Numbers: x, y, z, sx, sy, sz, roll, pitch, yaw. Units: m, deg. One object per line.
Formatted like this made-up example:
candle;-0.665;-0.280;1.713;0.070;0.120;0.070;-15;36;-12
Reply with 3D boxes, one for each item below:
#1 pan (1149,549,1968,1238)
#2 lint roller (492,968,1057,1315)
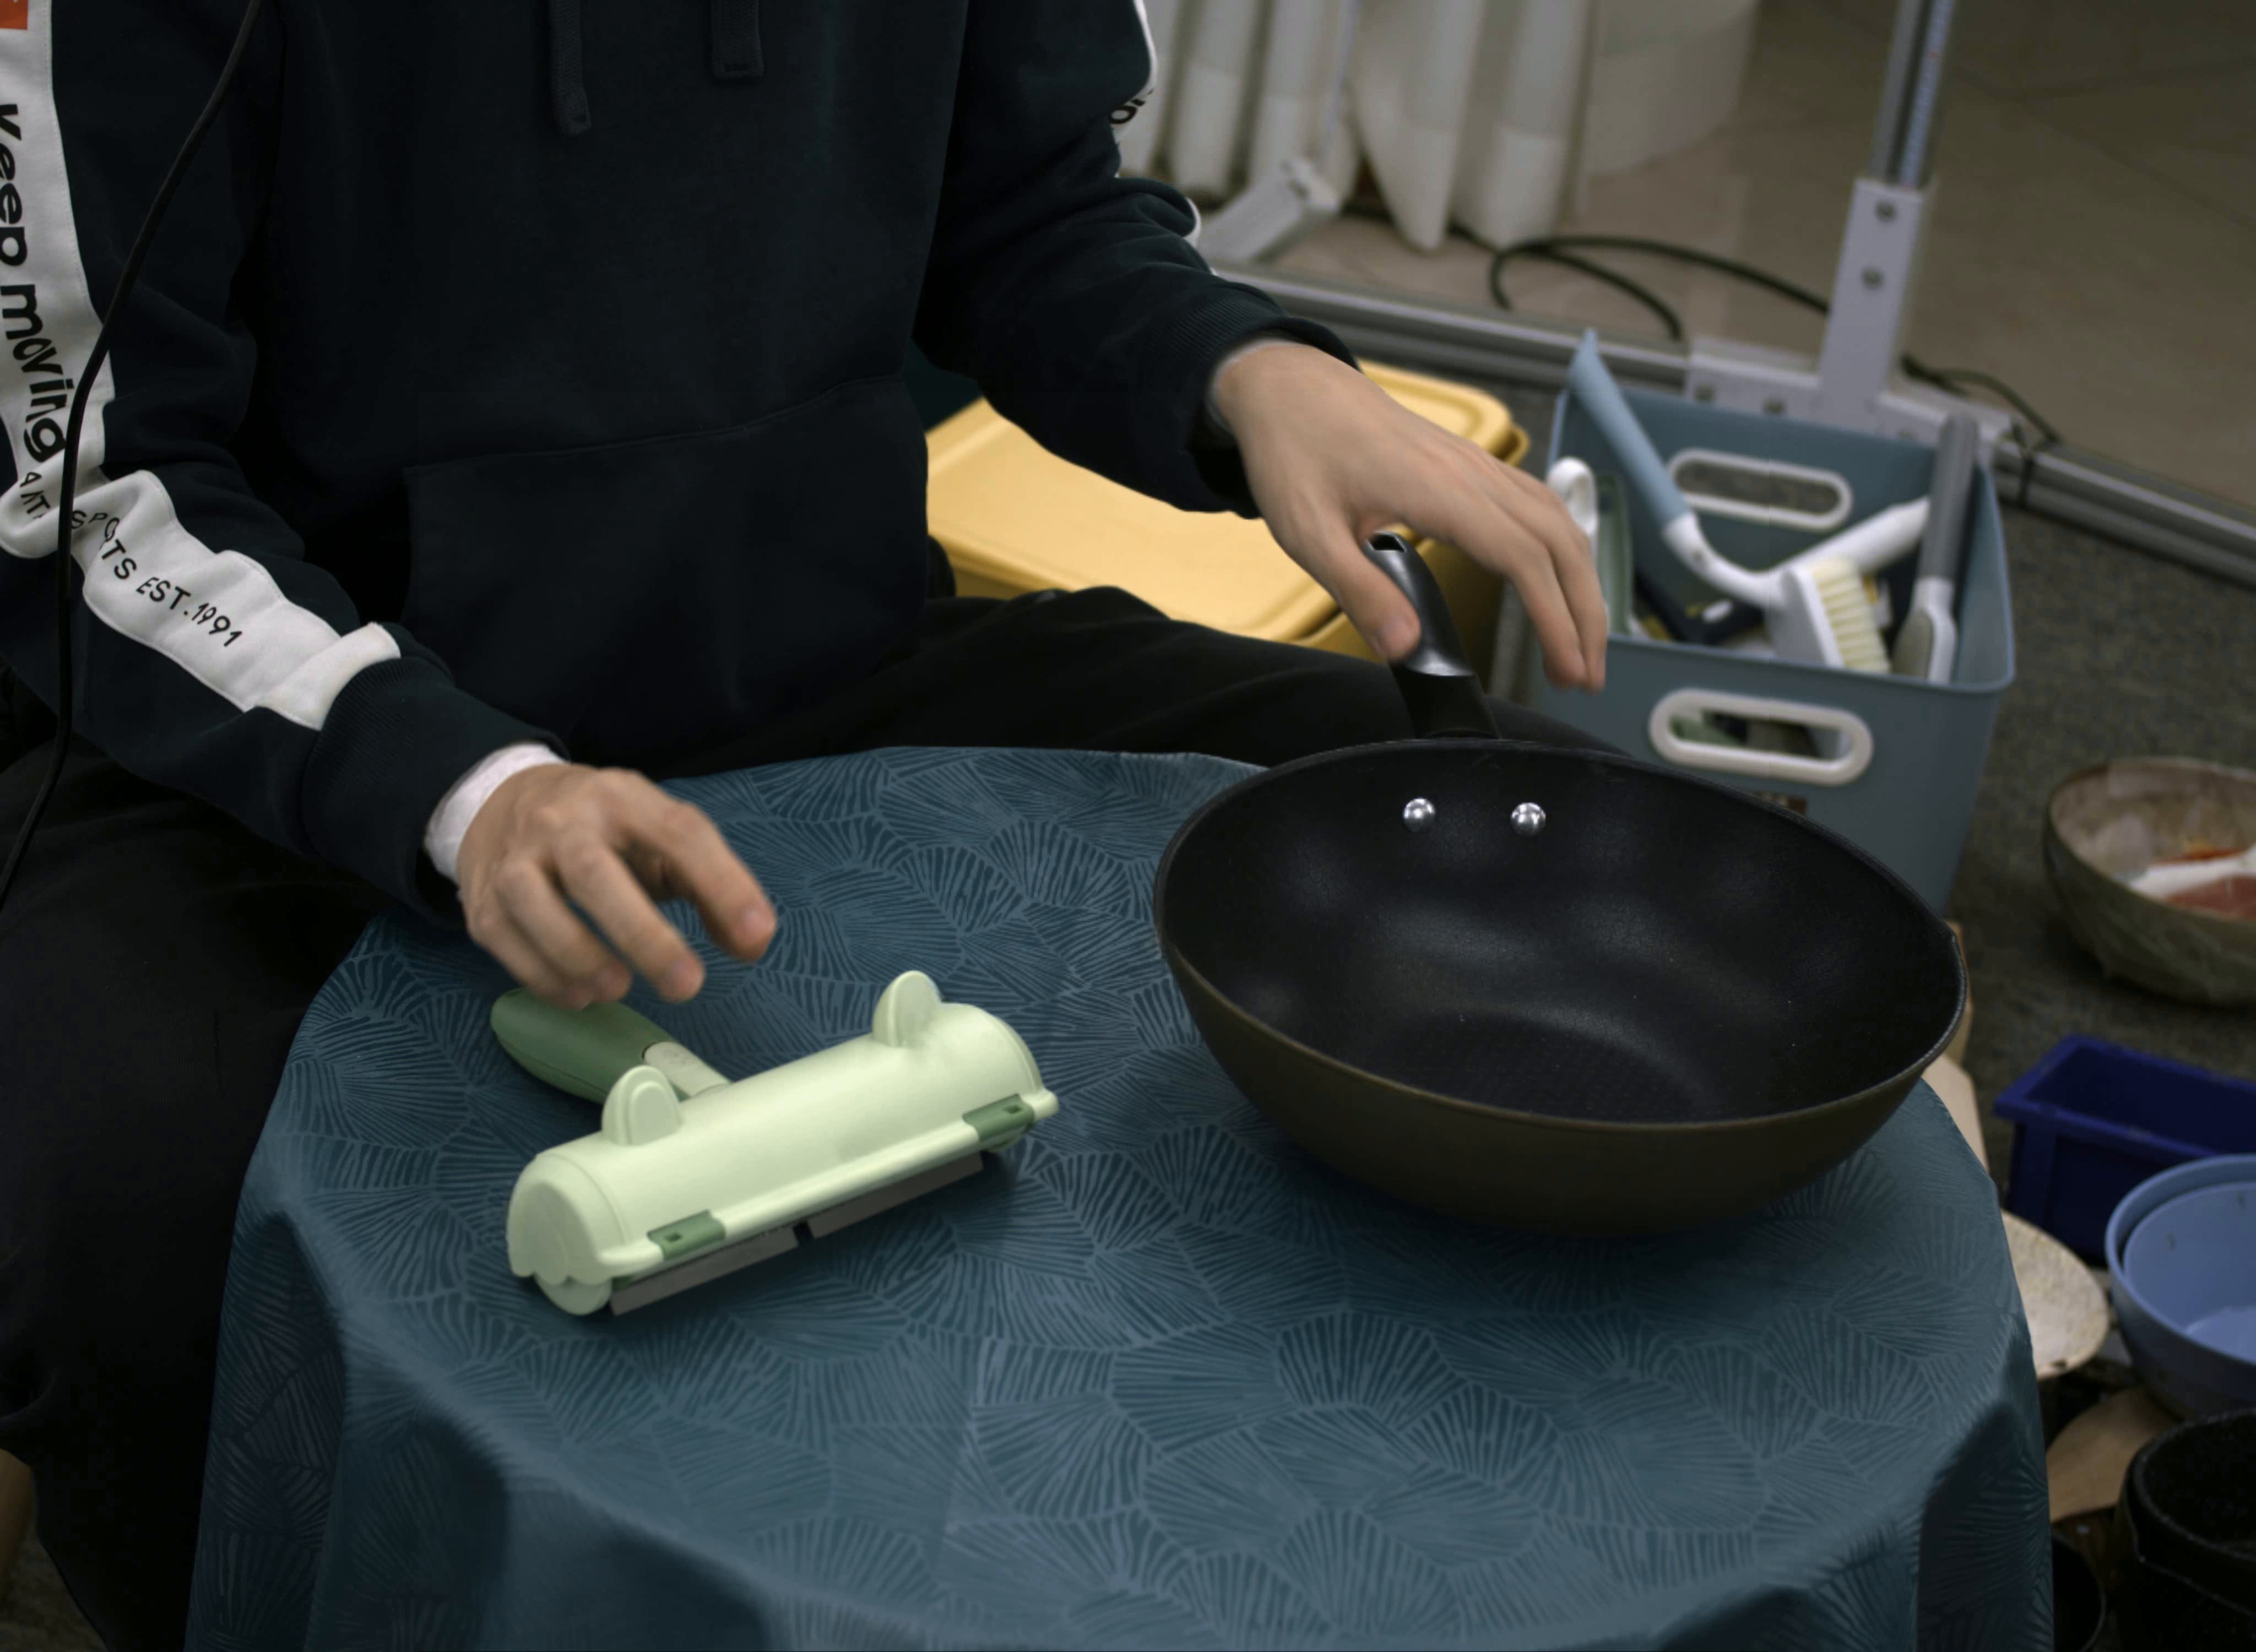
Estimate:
pan;0.129;0.026;1.928;0.286;0.086;0.467;1;26;-11
lint roller;-0.151;0.076;1.776;0.197;0.082;0.185;-19;41;-40
